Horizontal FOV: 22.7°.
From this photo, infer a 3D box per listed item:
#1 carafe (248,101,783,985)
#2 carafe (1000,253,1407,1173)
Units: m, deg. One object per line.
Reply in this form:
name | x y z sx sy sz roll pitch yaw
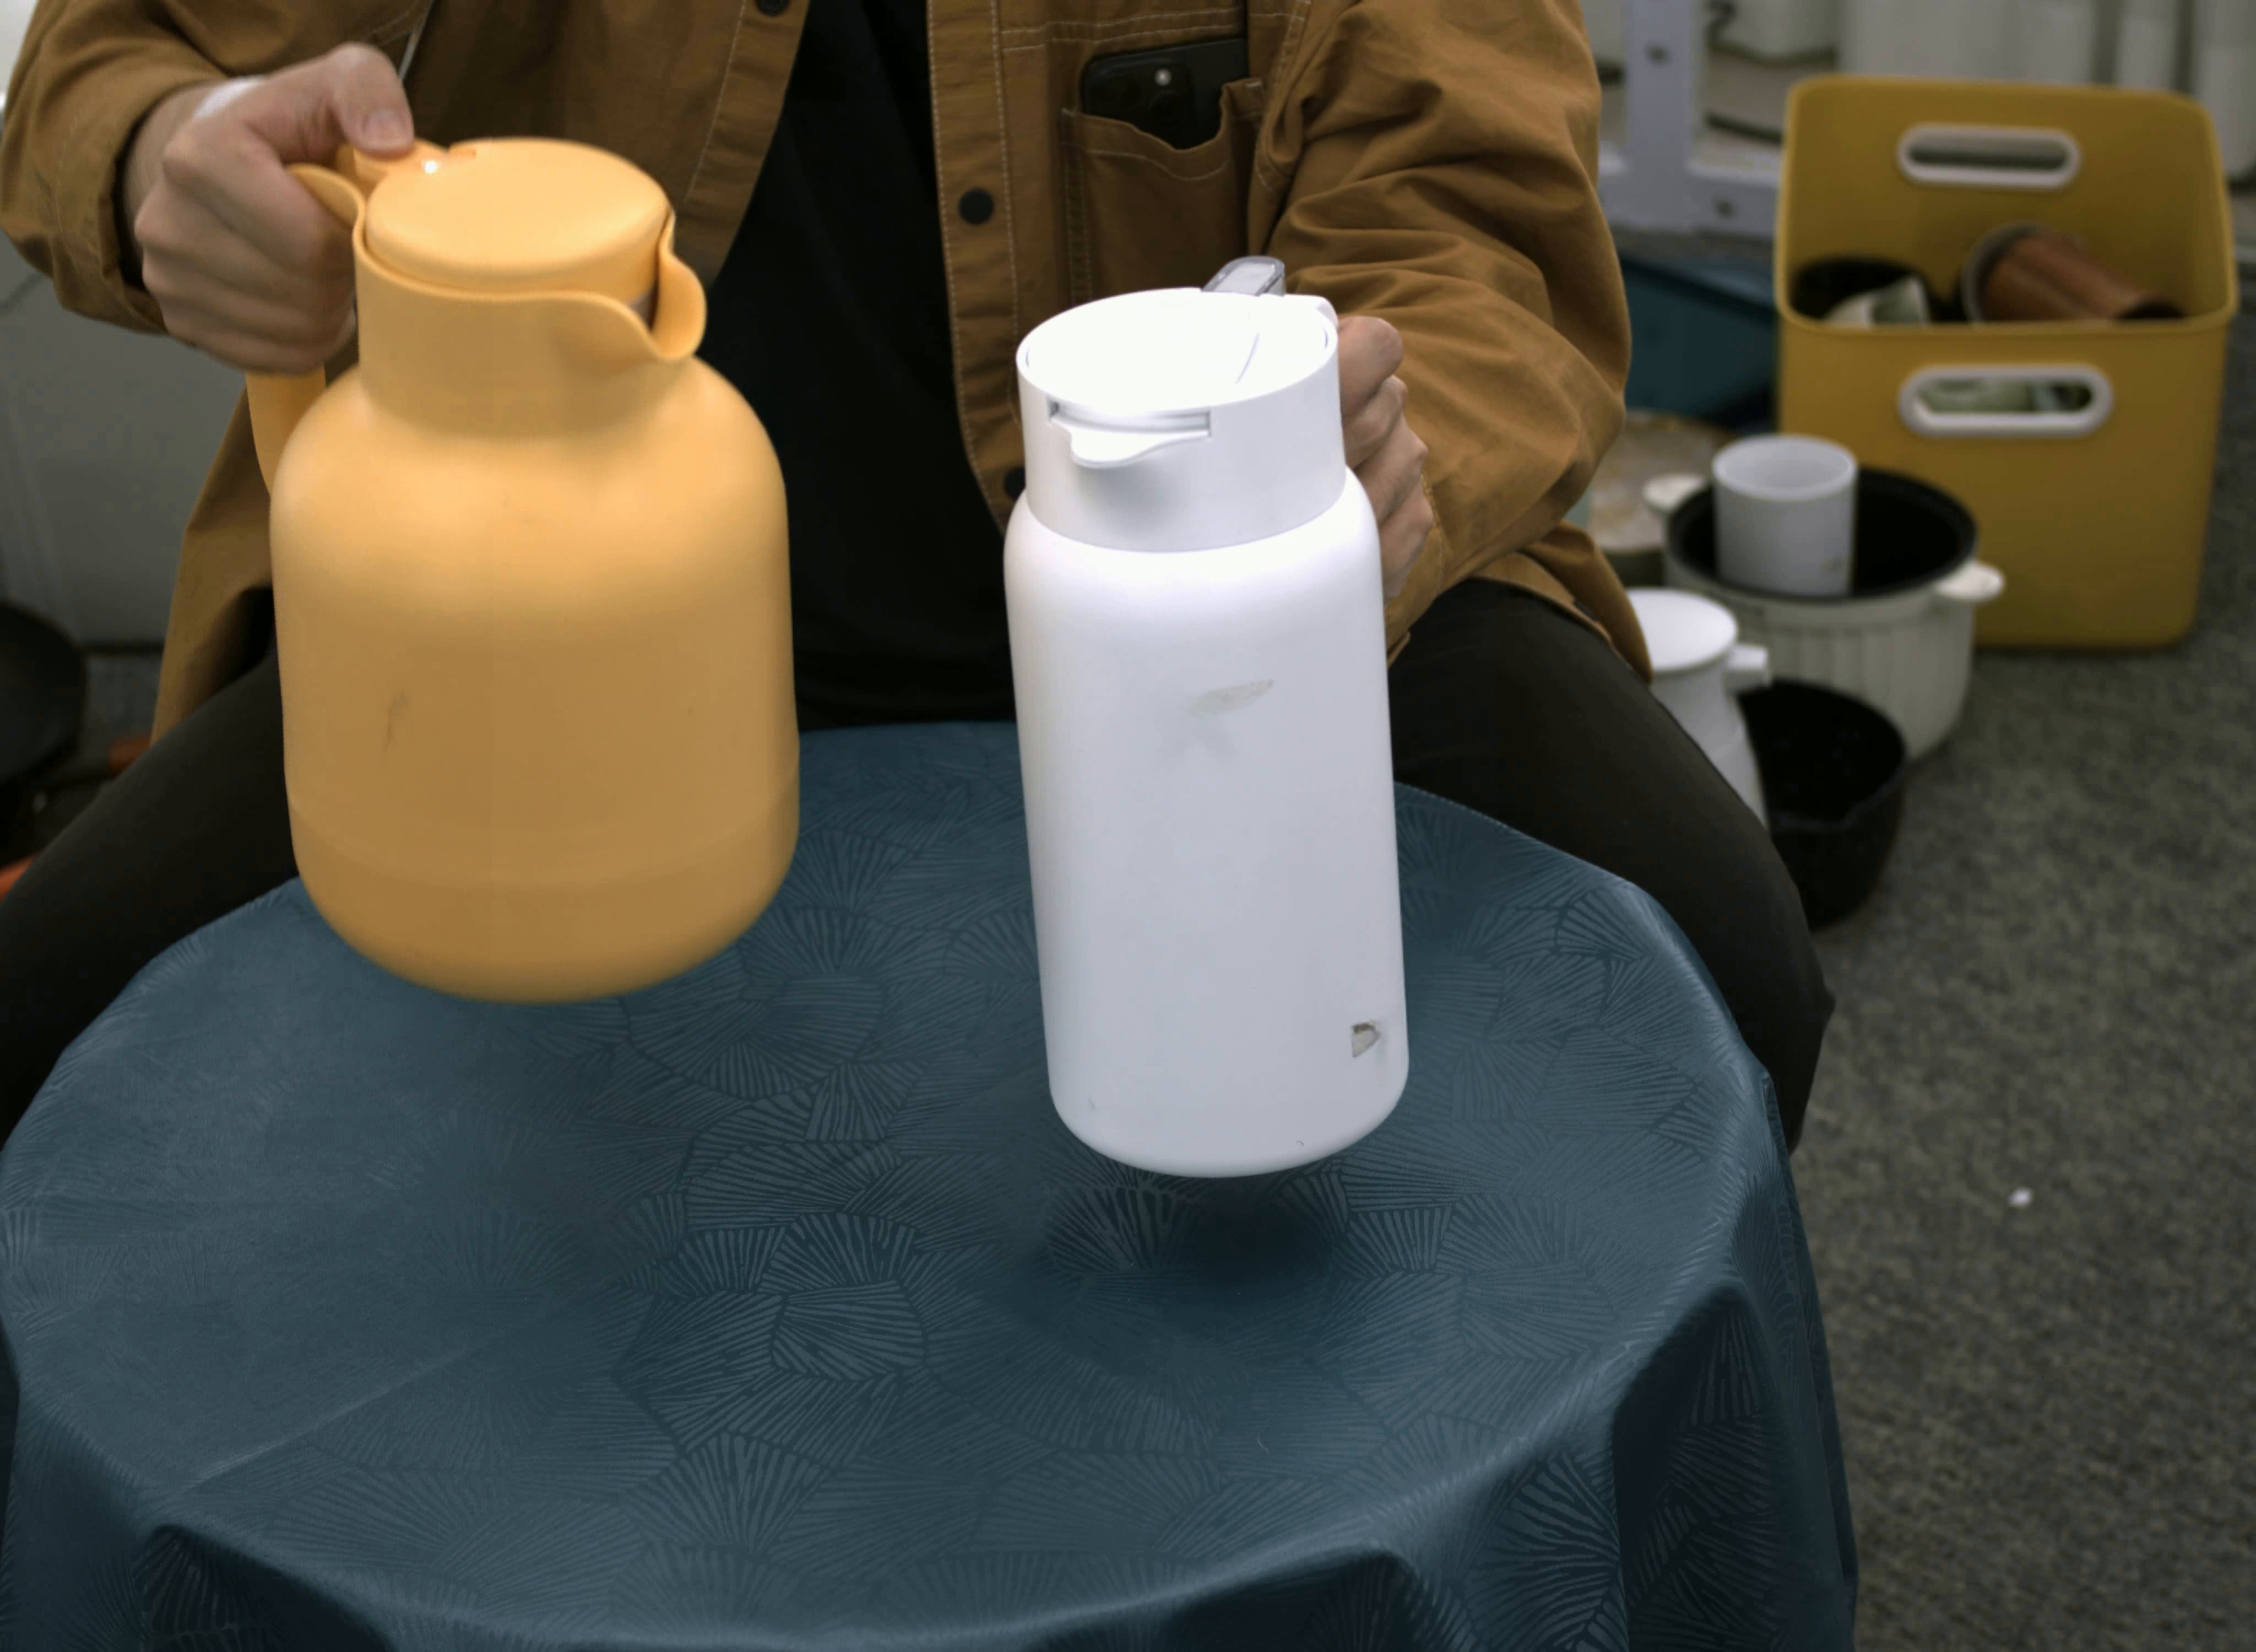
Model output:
carafe | -0.200 -0.098 1.765 0.202 0.257 0.165 29 37 36
carafe | 0.028 -0.039 1.782 0.123 0.266 0.176 4 26 22
